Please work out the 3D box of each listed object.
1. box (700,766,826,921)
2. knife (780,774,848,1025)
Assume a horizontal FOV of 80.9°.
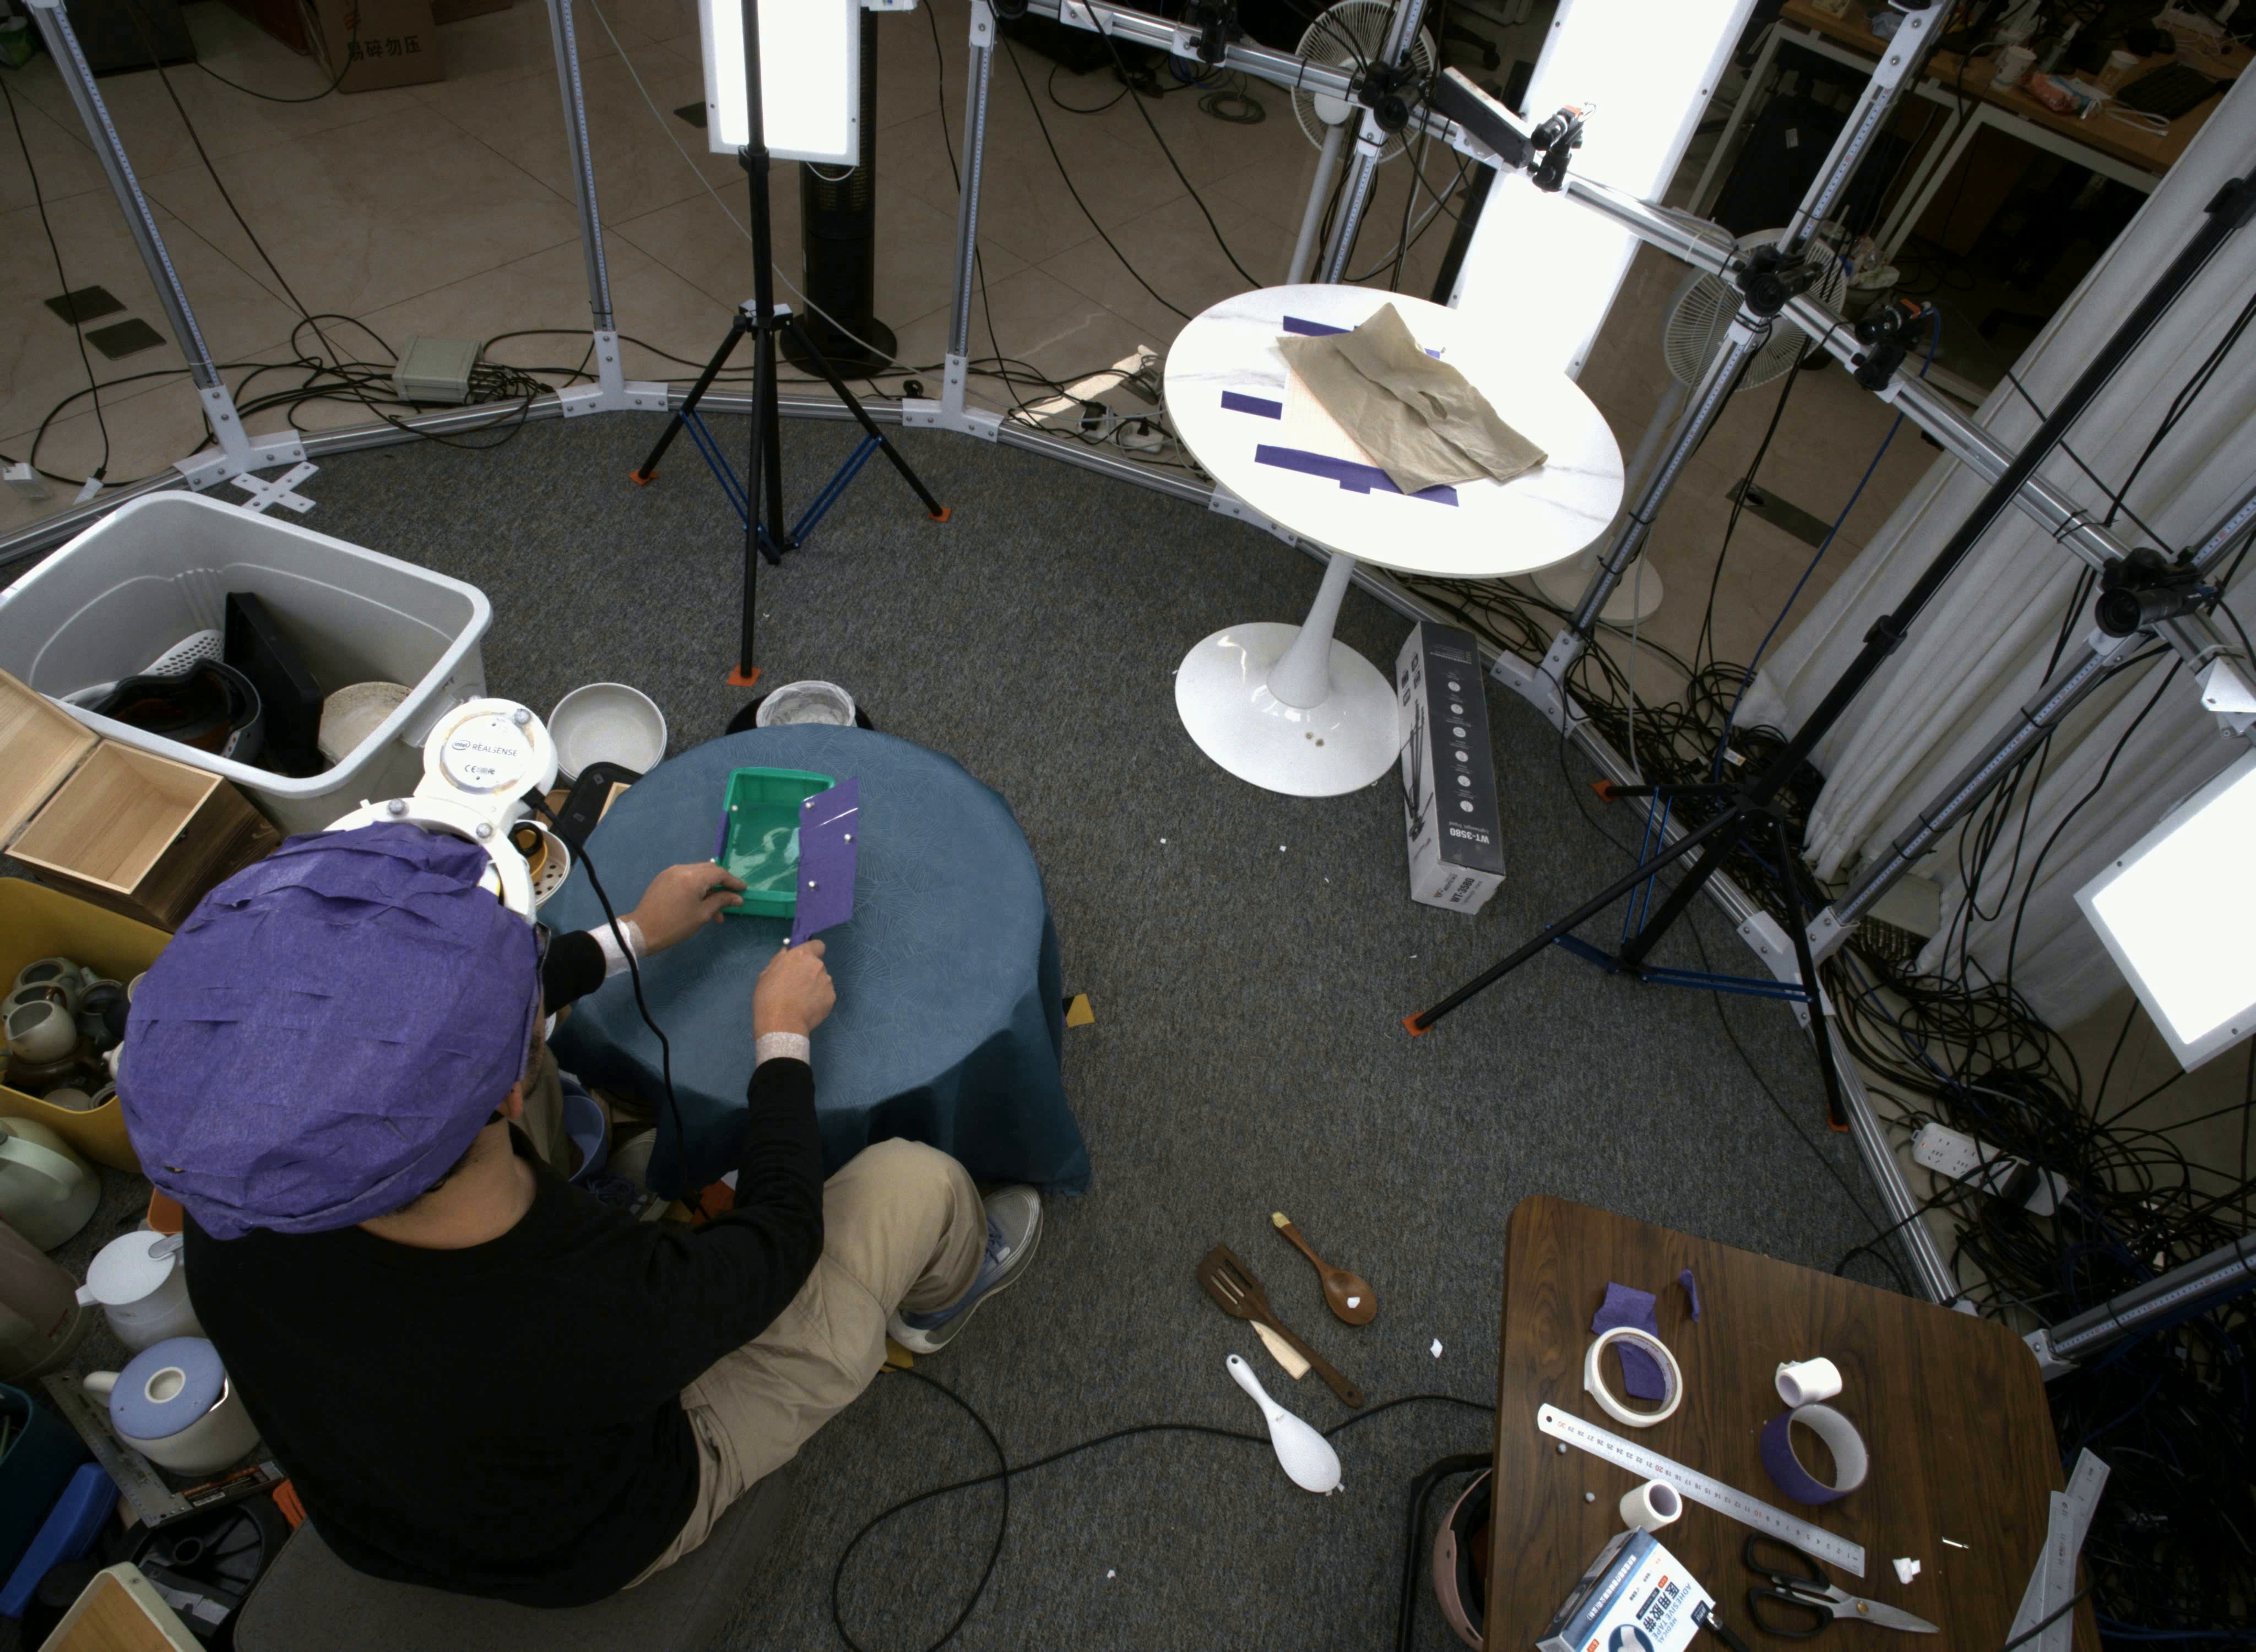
[{"bbox_3d":[-0.460,0.025,1.650,0.138,0.066,0.206,3,55,-10],"label":"box"},{"bbox_3d":[-0.372,0.075,1.536,0.102,0.033,0.309,-21,57,21],"label":"knife"}]
